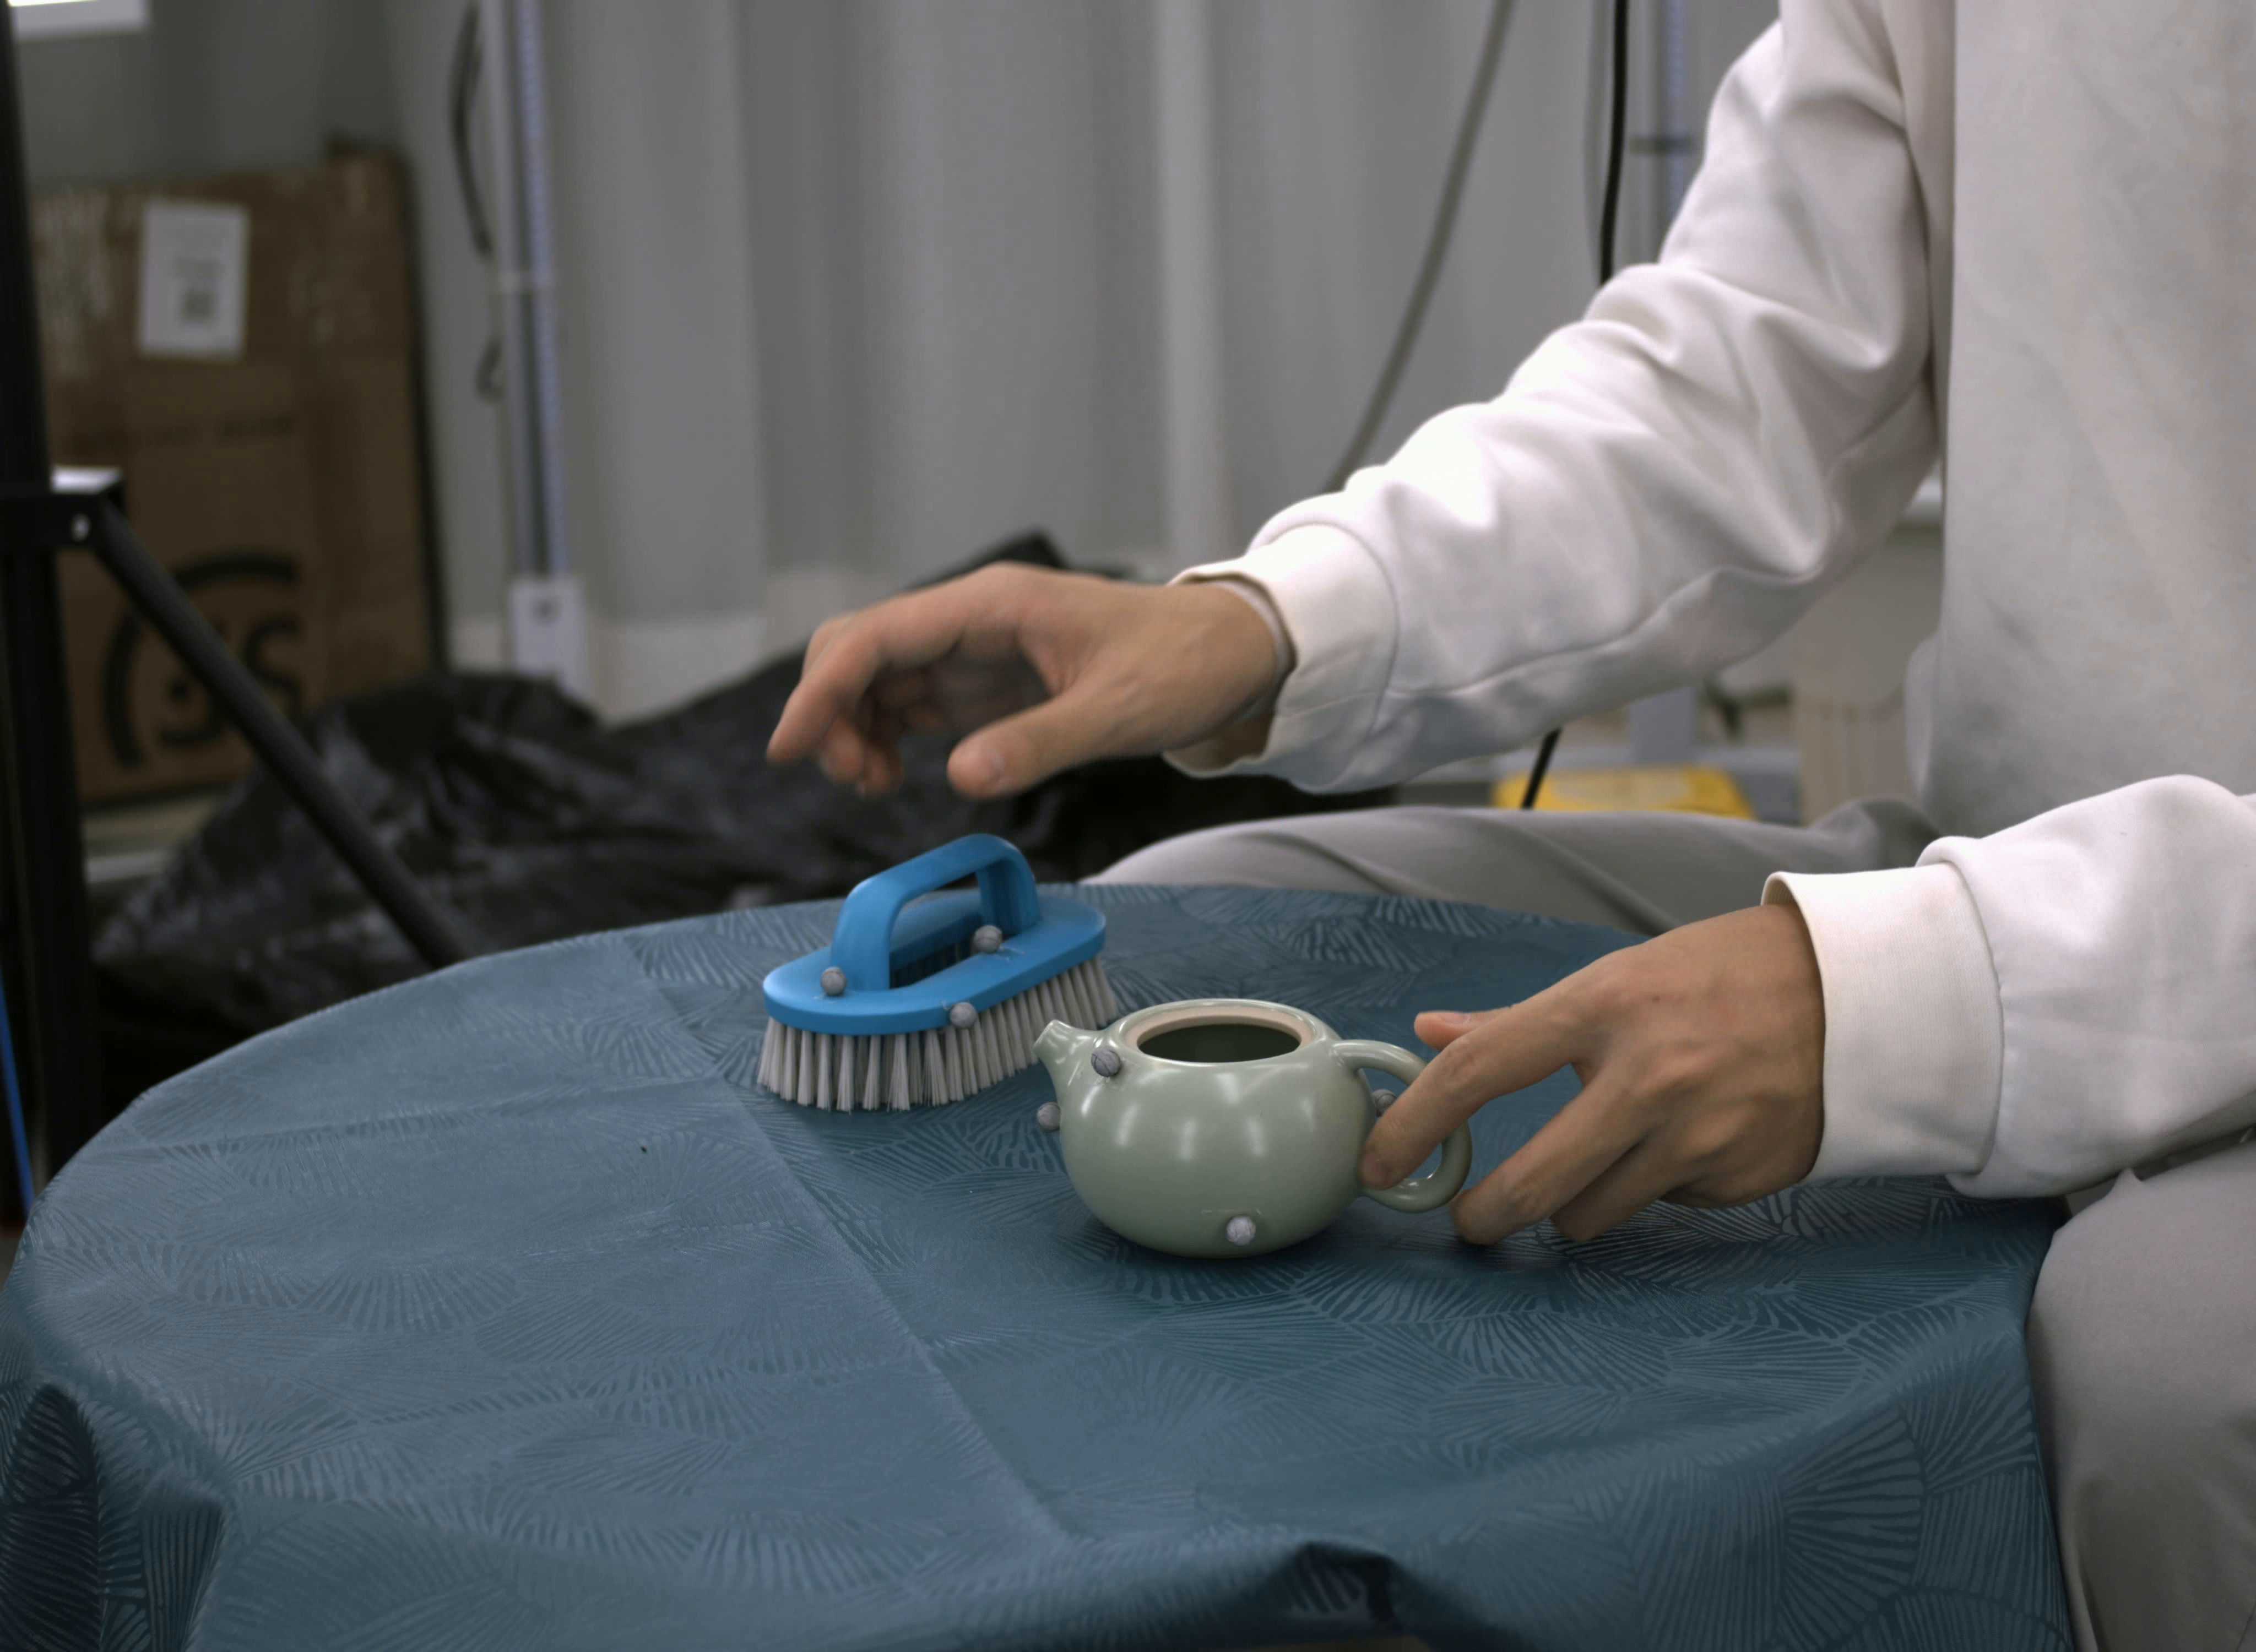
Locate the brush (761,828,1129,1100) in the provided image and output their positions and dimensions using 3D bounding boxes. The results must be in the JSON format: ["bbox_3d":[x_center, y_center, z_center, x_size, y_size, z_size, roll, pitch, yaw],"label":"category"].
[{"bbox_3d":[-0.061,0.038,1.693,0.086,0.064,0.139,2,15,35],"label":"brush"}]

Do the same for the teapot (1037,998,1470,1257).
[{"bbox_3d":[0.036,0.088,1.518,0.130,0.061,0.090,4,15,19],"label":"teapot"}]
